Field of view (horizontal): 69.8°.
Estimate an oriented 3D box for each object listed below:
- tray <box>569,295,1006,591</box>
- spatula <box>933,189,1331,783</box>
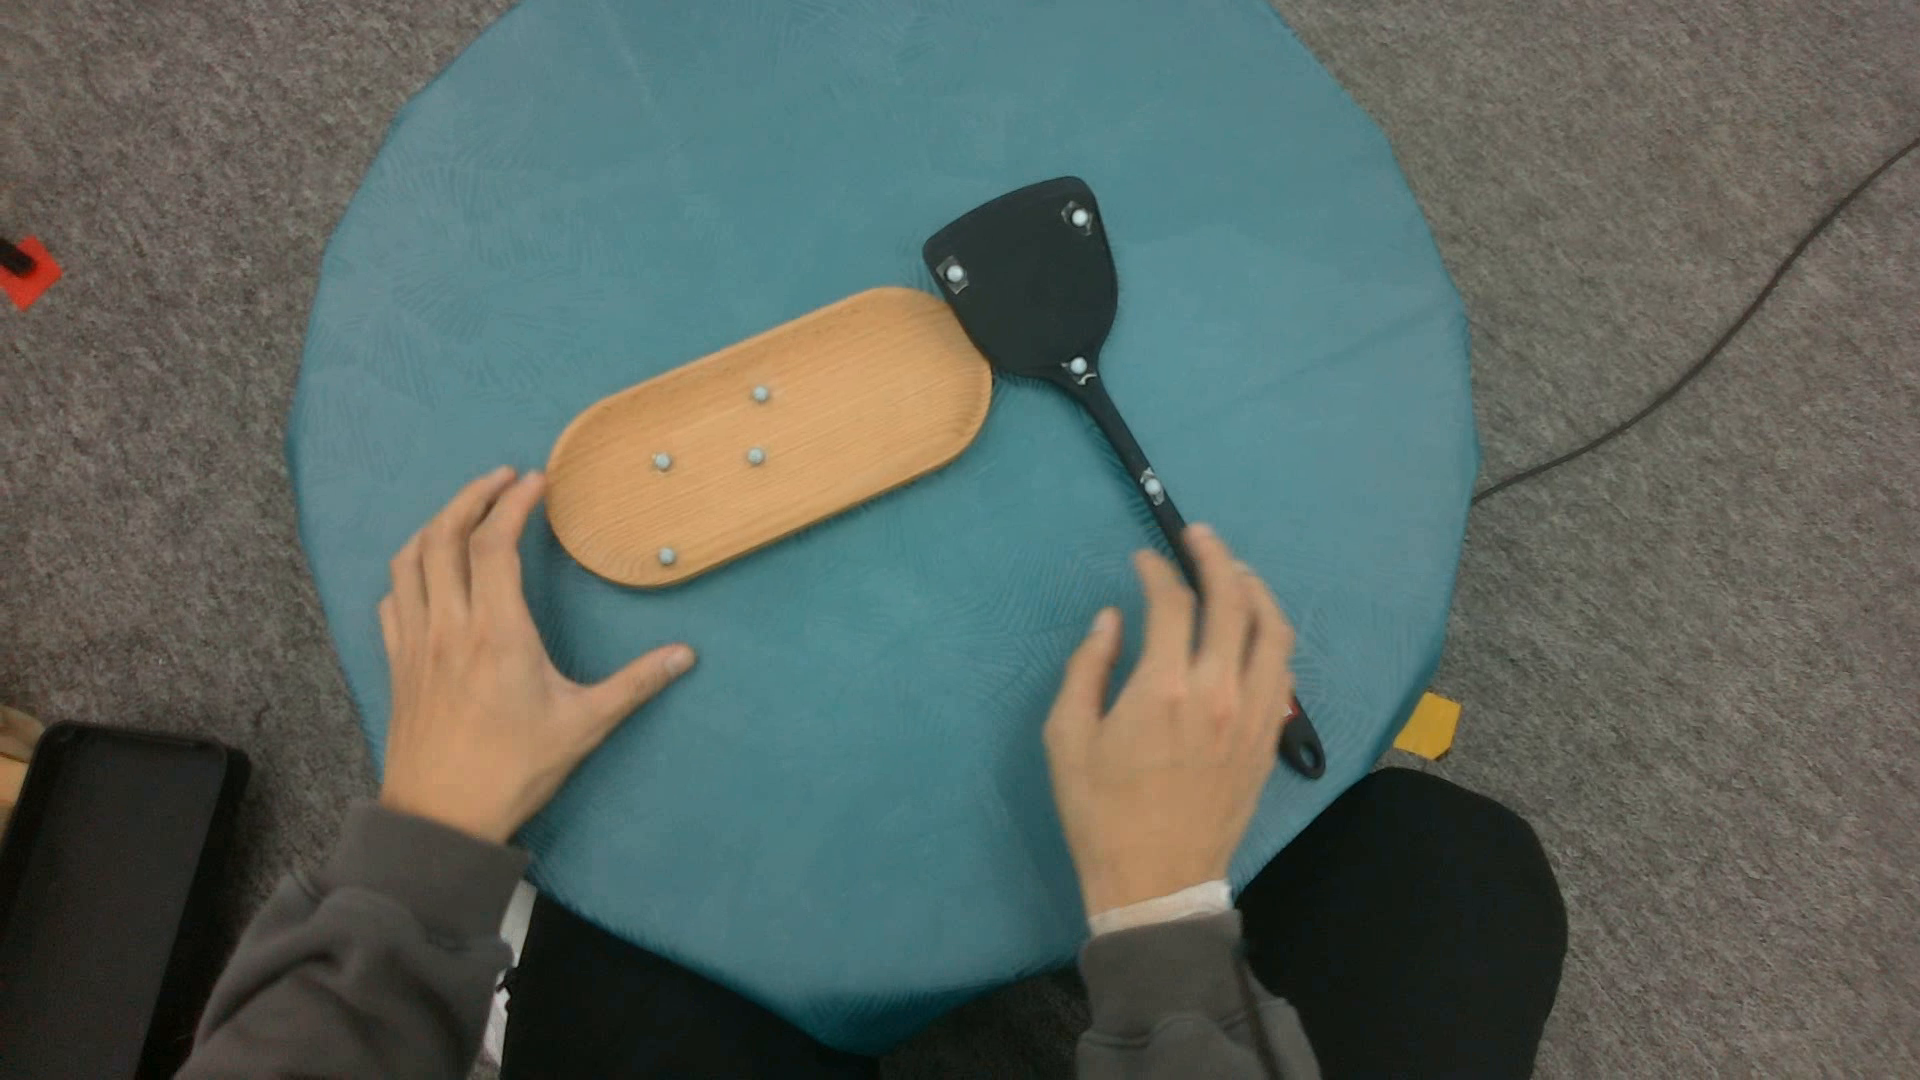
[{"bbox_3d":[-0.086,-0.050,0.703,0.231,0.020,0.102,-24,78,-8],"label":"tray"},{"bbox_3d":[0.100,-0.025,0.690,0.100,0.040,0.326,-27,78,-12],"label":"spatula"}]
